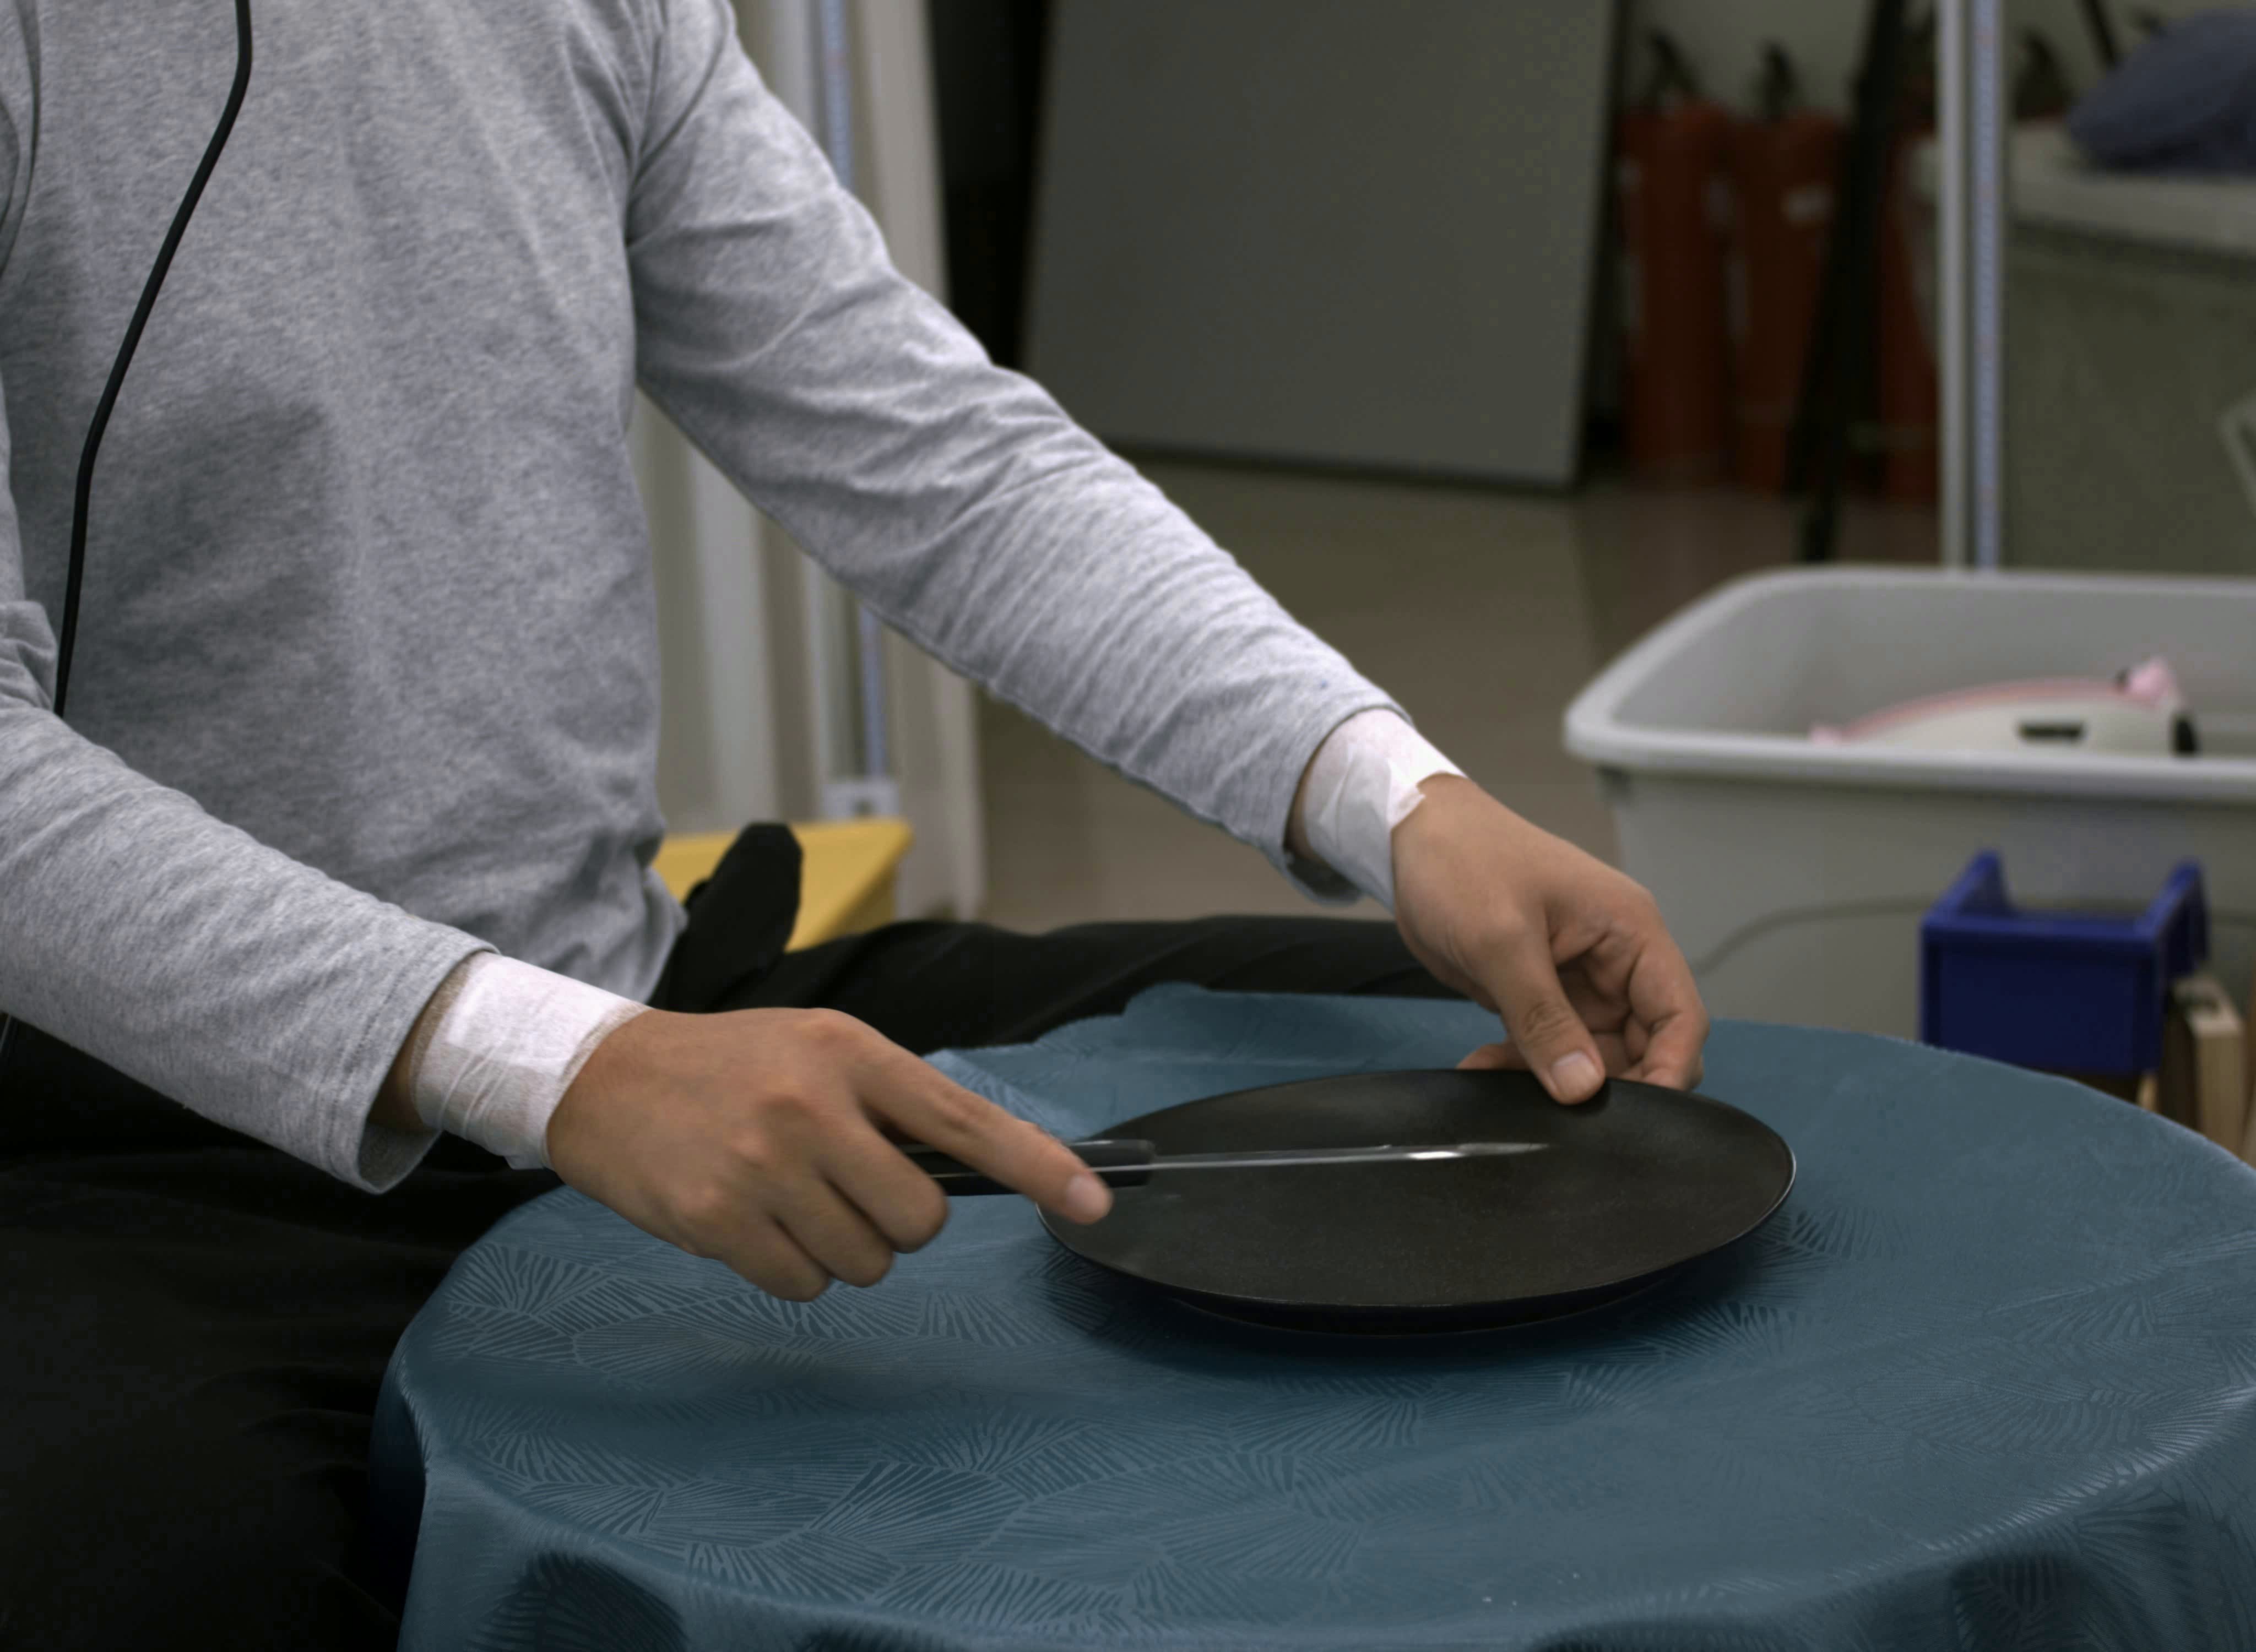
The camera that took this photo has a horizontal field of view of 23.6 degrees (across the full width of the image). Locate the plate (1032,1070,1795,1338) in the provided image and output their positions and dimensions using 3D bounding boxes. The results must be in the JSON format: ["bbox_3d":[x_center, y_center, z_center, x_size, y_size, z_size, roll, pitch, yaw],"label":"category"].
[{"bbox_3d":[0.090,0.122,1.700,0.241,0.024,0.245,-4,13,0],"label":"plate"}]

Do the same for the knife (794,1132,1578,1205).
[{"bbox_3d":[0.017,0.099,1.605,0.235,0.016,0.024,-3,4,3],"label":"knife"}]
